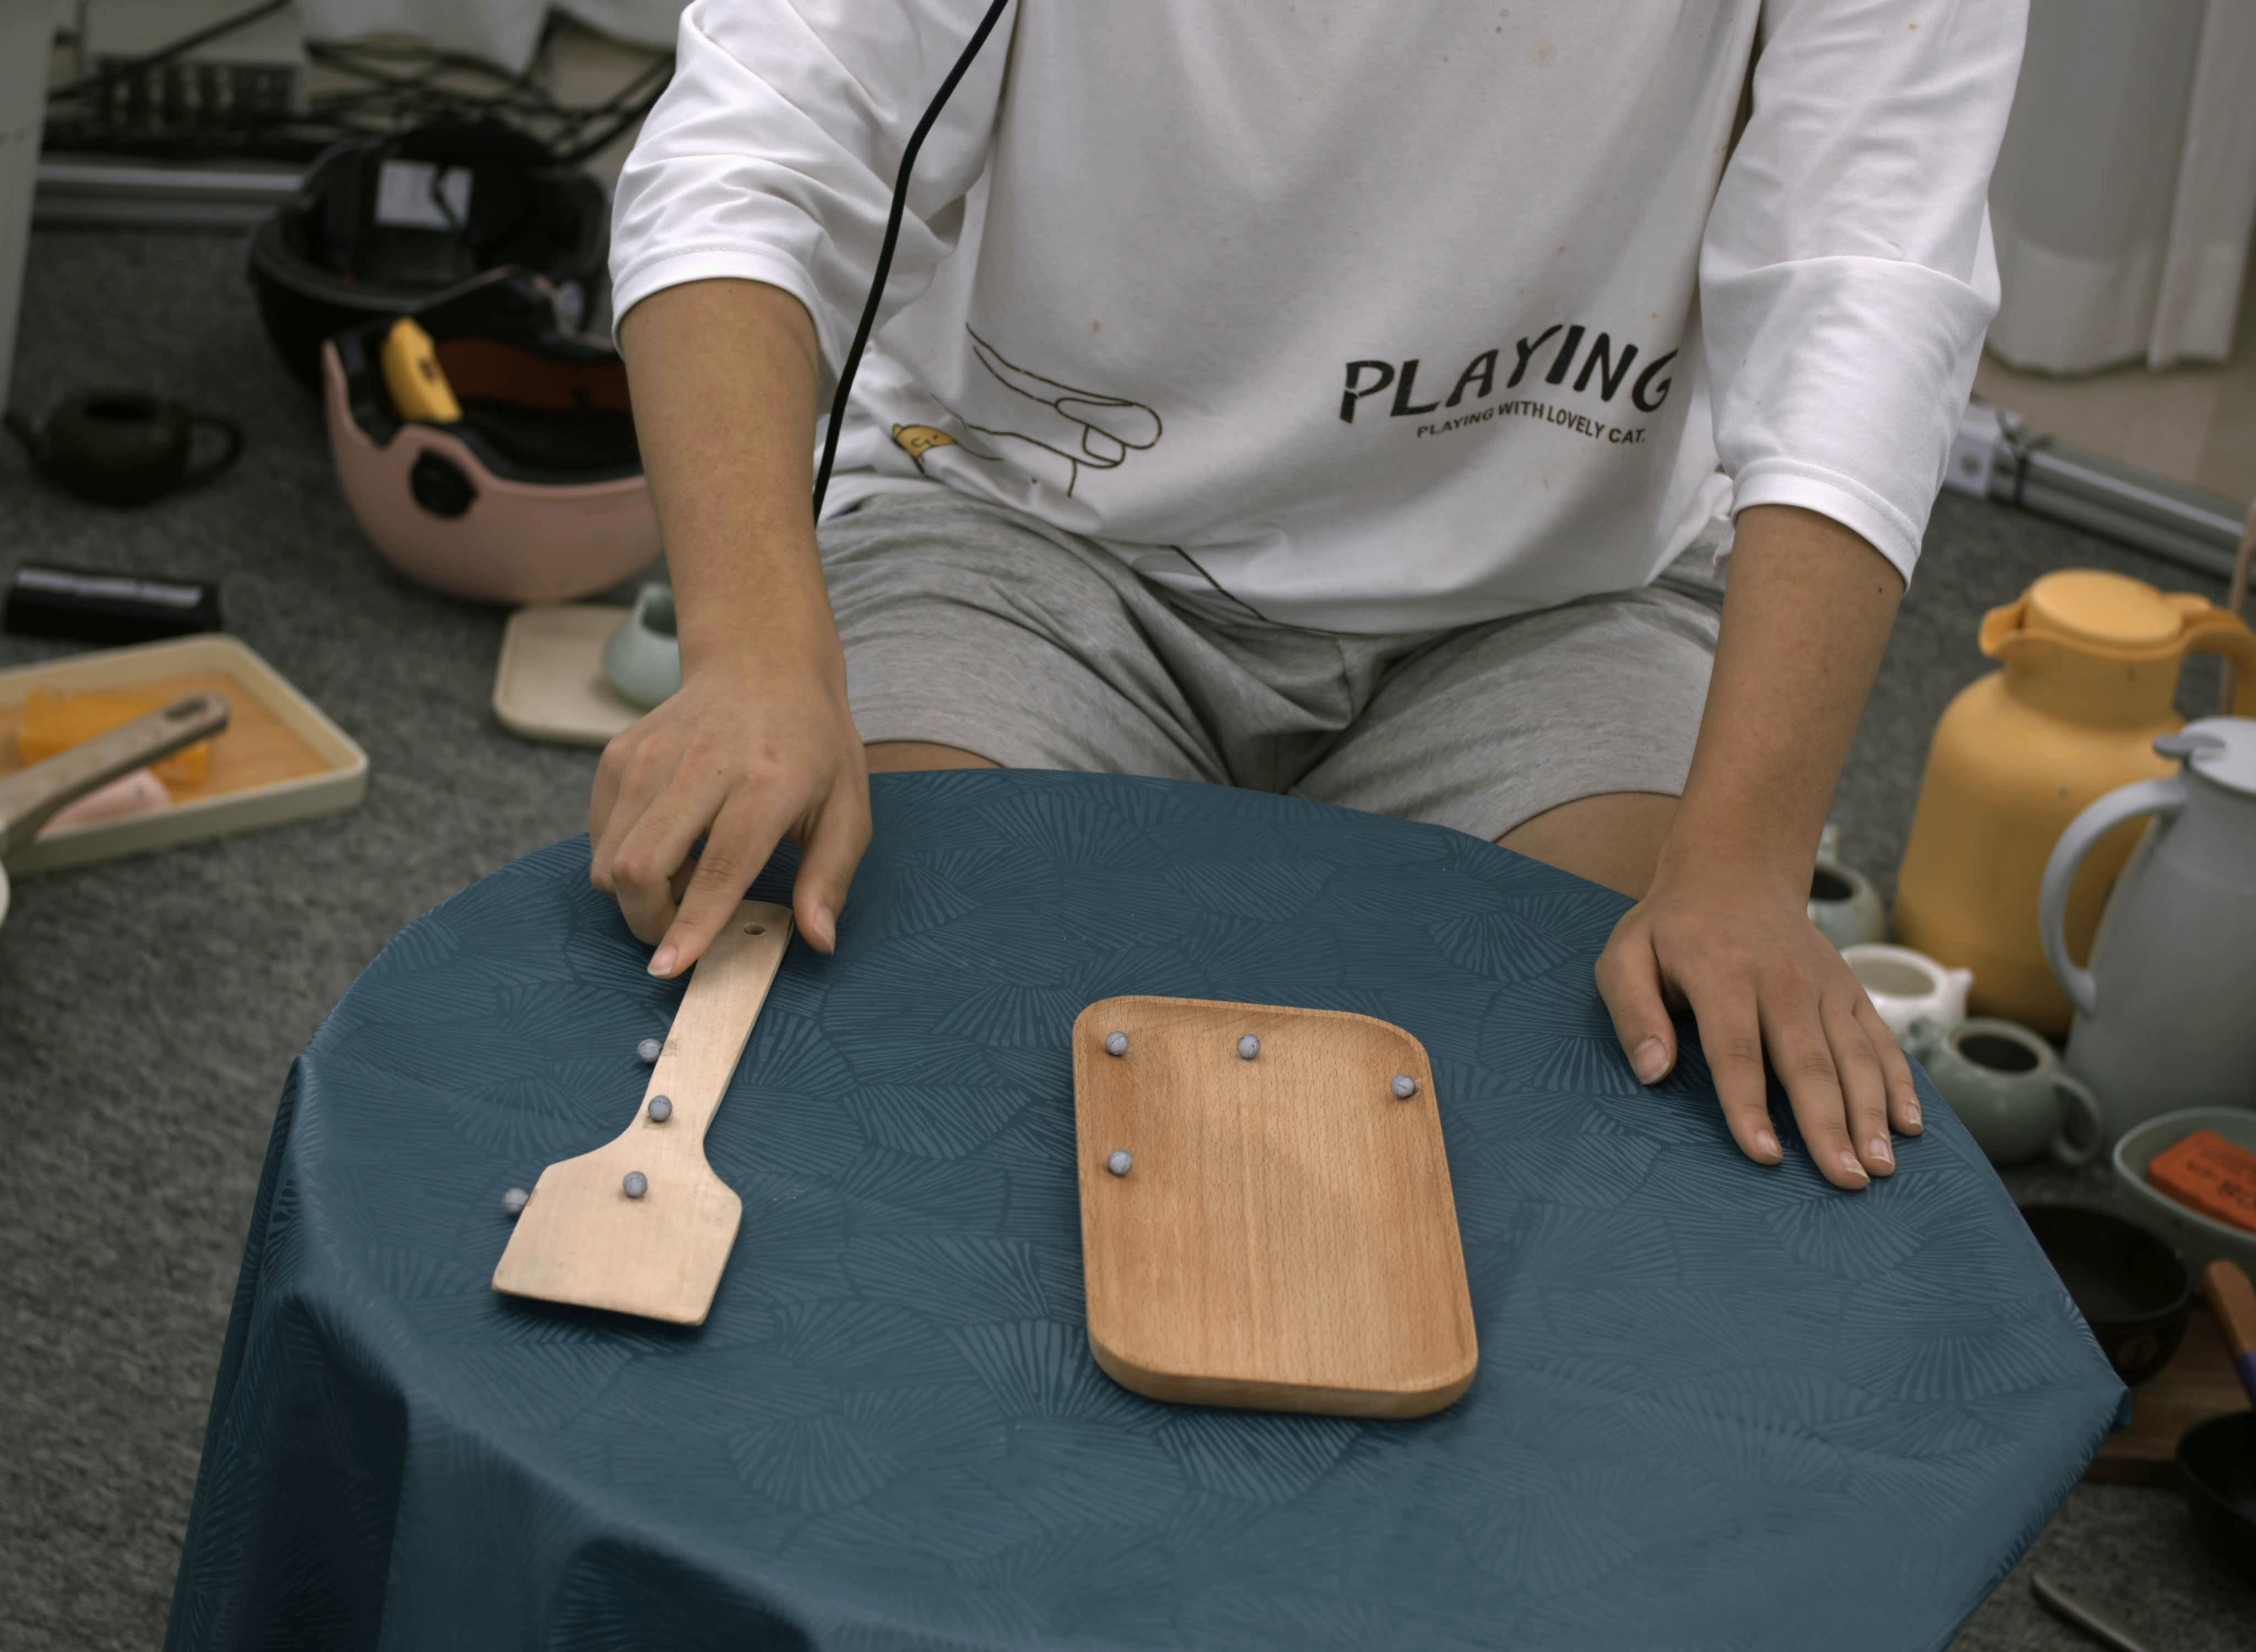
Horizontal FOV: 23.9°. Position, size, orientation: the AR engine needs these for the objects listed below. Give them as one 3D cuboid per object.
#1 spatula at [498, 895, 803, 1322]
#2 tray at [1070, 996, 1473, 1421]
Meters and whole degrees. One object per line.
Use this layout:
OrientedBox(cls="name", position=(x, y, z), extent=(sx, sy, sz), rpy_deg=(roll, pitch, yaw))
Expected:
OrientedBox(cls="spatula", position=(-0.151, 0.091, 1.824), extent=(0.072, 0.010, 0.294), rpy_deg=(8, 27, 4))
OrientedBox(cls="tray", position=(0.045, 0.126, 1.794), extent=(0.130, 0.023, 0.252), rpy_deg=(3, 27, -2))
